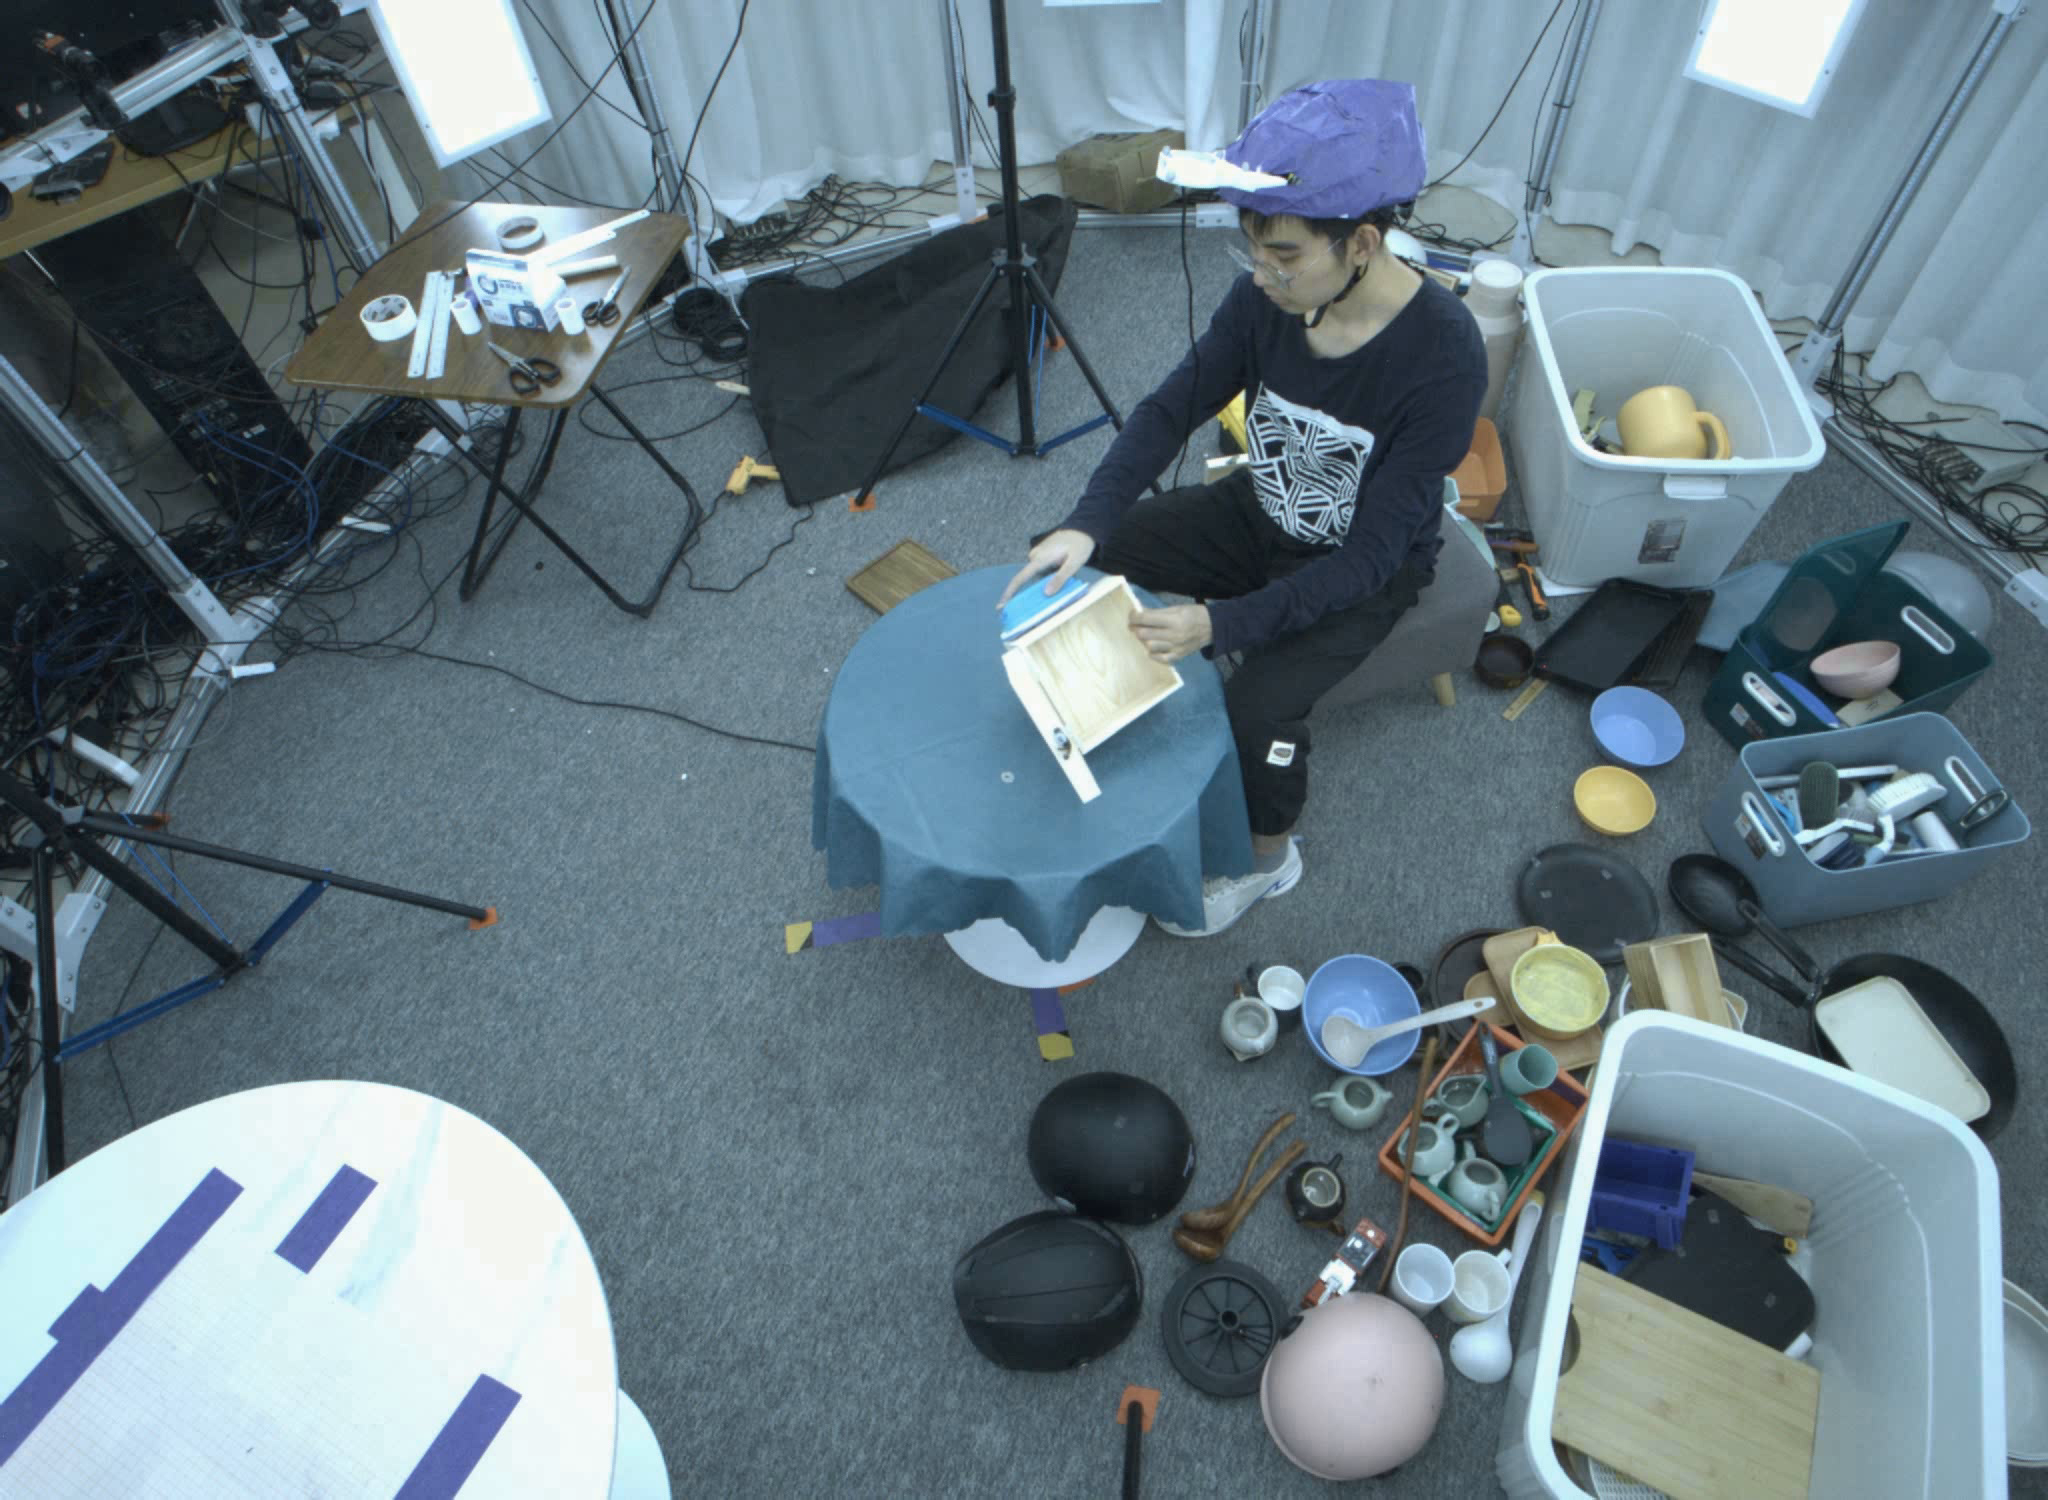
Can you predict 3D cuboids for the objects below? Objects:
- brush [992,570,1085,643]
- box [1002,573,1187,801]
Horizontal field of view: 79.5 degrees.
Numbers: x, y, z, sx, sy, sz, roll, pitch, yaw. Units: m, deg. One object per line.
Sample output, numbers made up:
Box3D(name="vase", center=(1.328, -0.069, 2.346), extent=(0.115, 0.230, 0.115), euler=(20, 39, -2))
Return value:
Box3D(name="brush", center=(0.014, -0.209, 1.749), extent=(0.144, 0.056, 0.082), euler=(-38, 20, -14))
Box3D(name="box", center=(0.098, -0.096, 1.644), extent=(0.266, 0.249, 0.184), euler=(-36, 105, -11))
